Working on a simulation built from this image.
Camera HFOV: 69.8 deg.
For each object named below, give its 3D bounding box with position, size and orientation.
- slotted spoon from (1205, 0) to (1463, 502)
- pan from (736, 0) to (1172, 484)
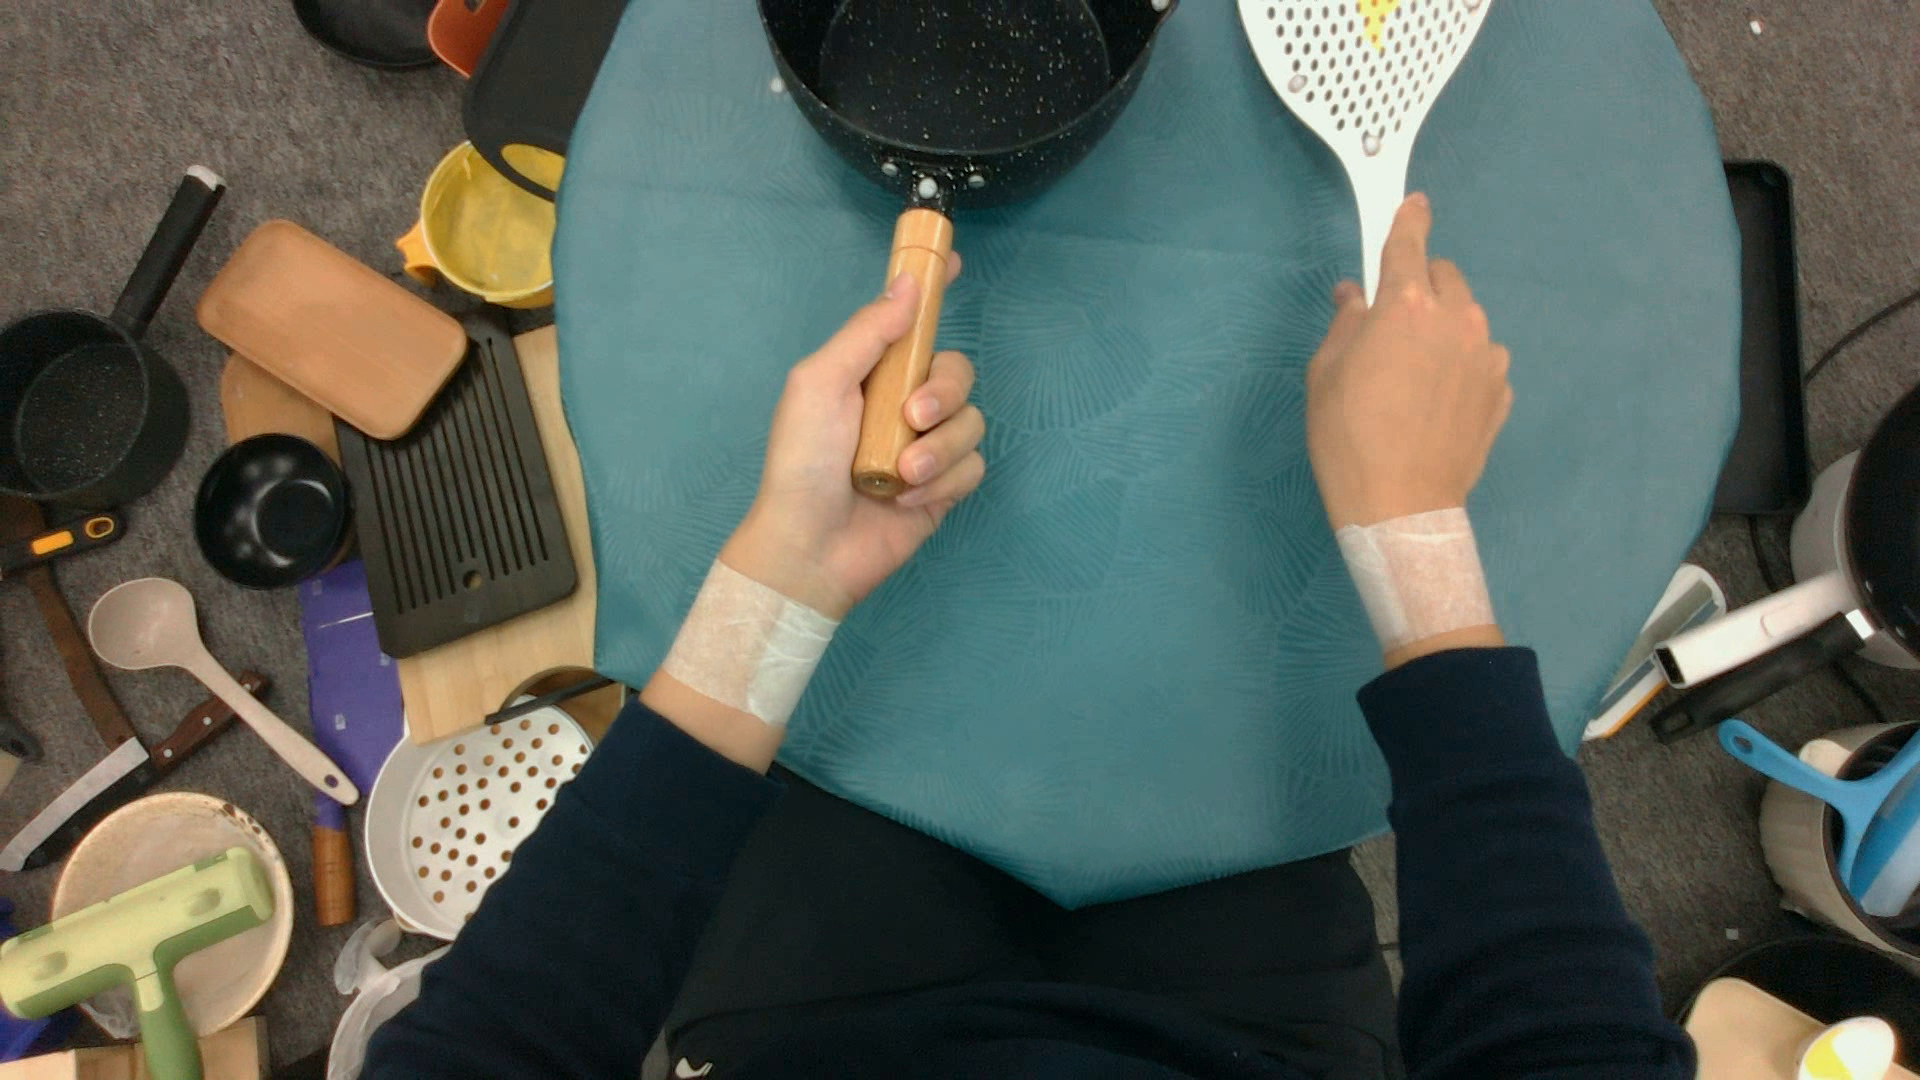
[{"bbox_3d":[0.193,-0.188,0.659,0.136,0.050,0.349,-9,70,26],"label":"slotted spoon"},{"bbox_3d":[-0.014,-0.177,0.636,0.207,0.108,0.343,6,75,1],"label":"pan"}]
